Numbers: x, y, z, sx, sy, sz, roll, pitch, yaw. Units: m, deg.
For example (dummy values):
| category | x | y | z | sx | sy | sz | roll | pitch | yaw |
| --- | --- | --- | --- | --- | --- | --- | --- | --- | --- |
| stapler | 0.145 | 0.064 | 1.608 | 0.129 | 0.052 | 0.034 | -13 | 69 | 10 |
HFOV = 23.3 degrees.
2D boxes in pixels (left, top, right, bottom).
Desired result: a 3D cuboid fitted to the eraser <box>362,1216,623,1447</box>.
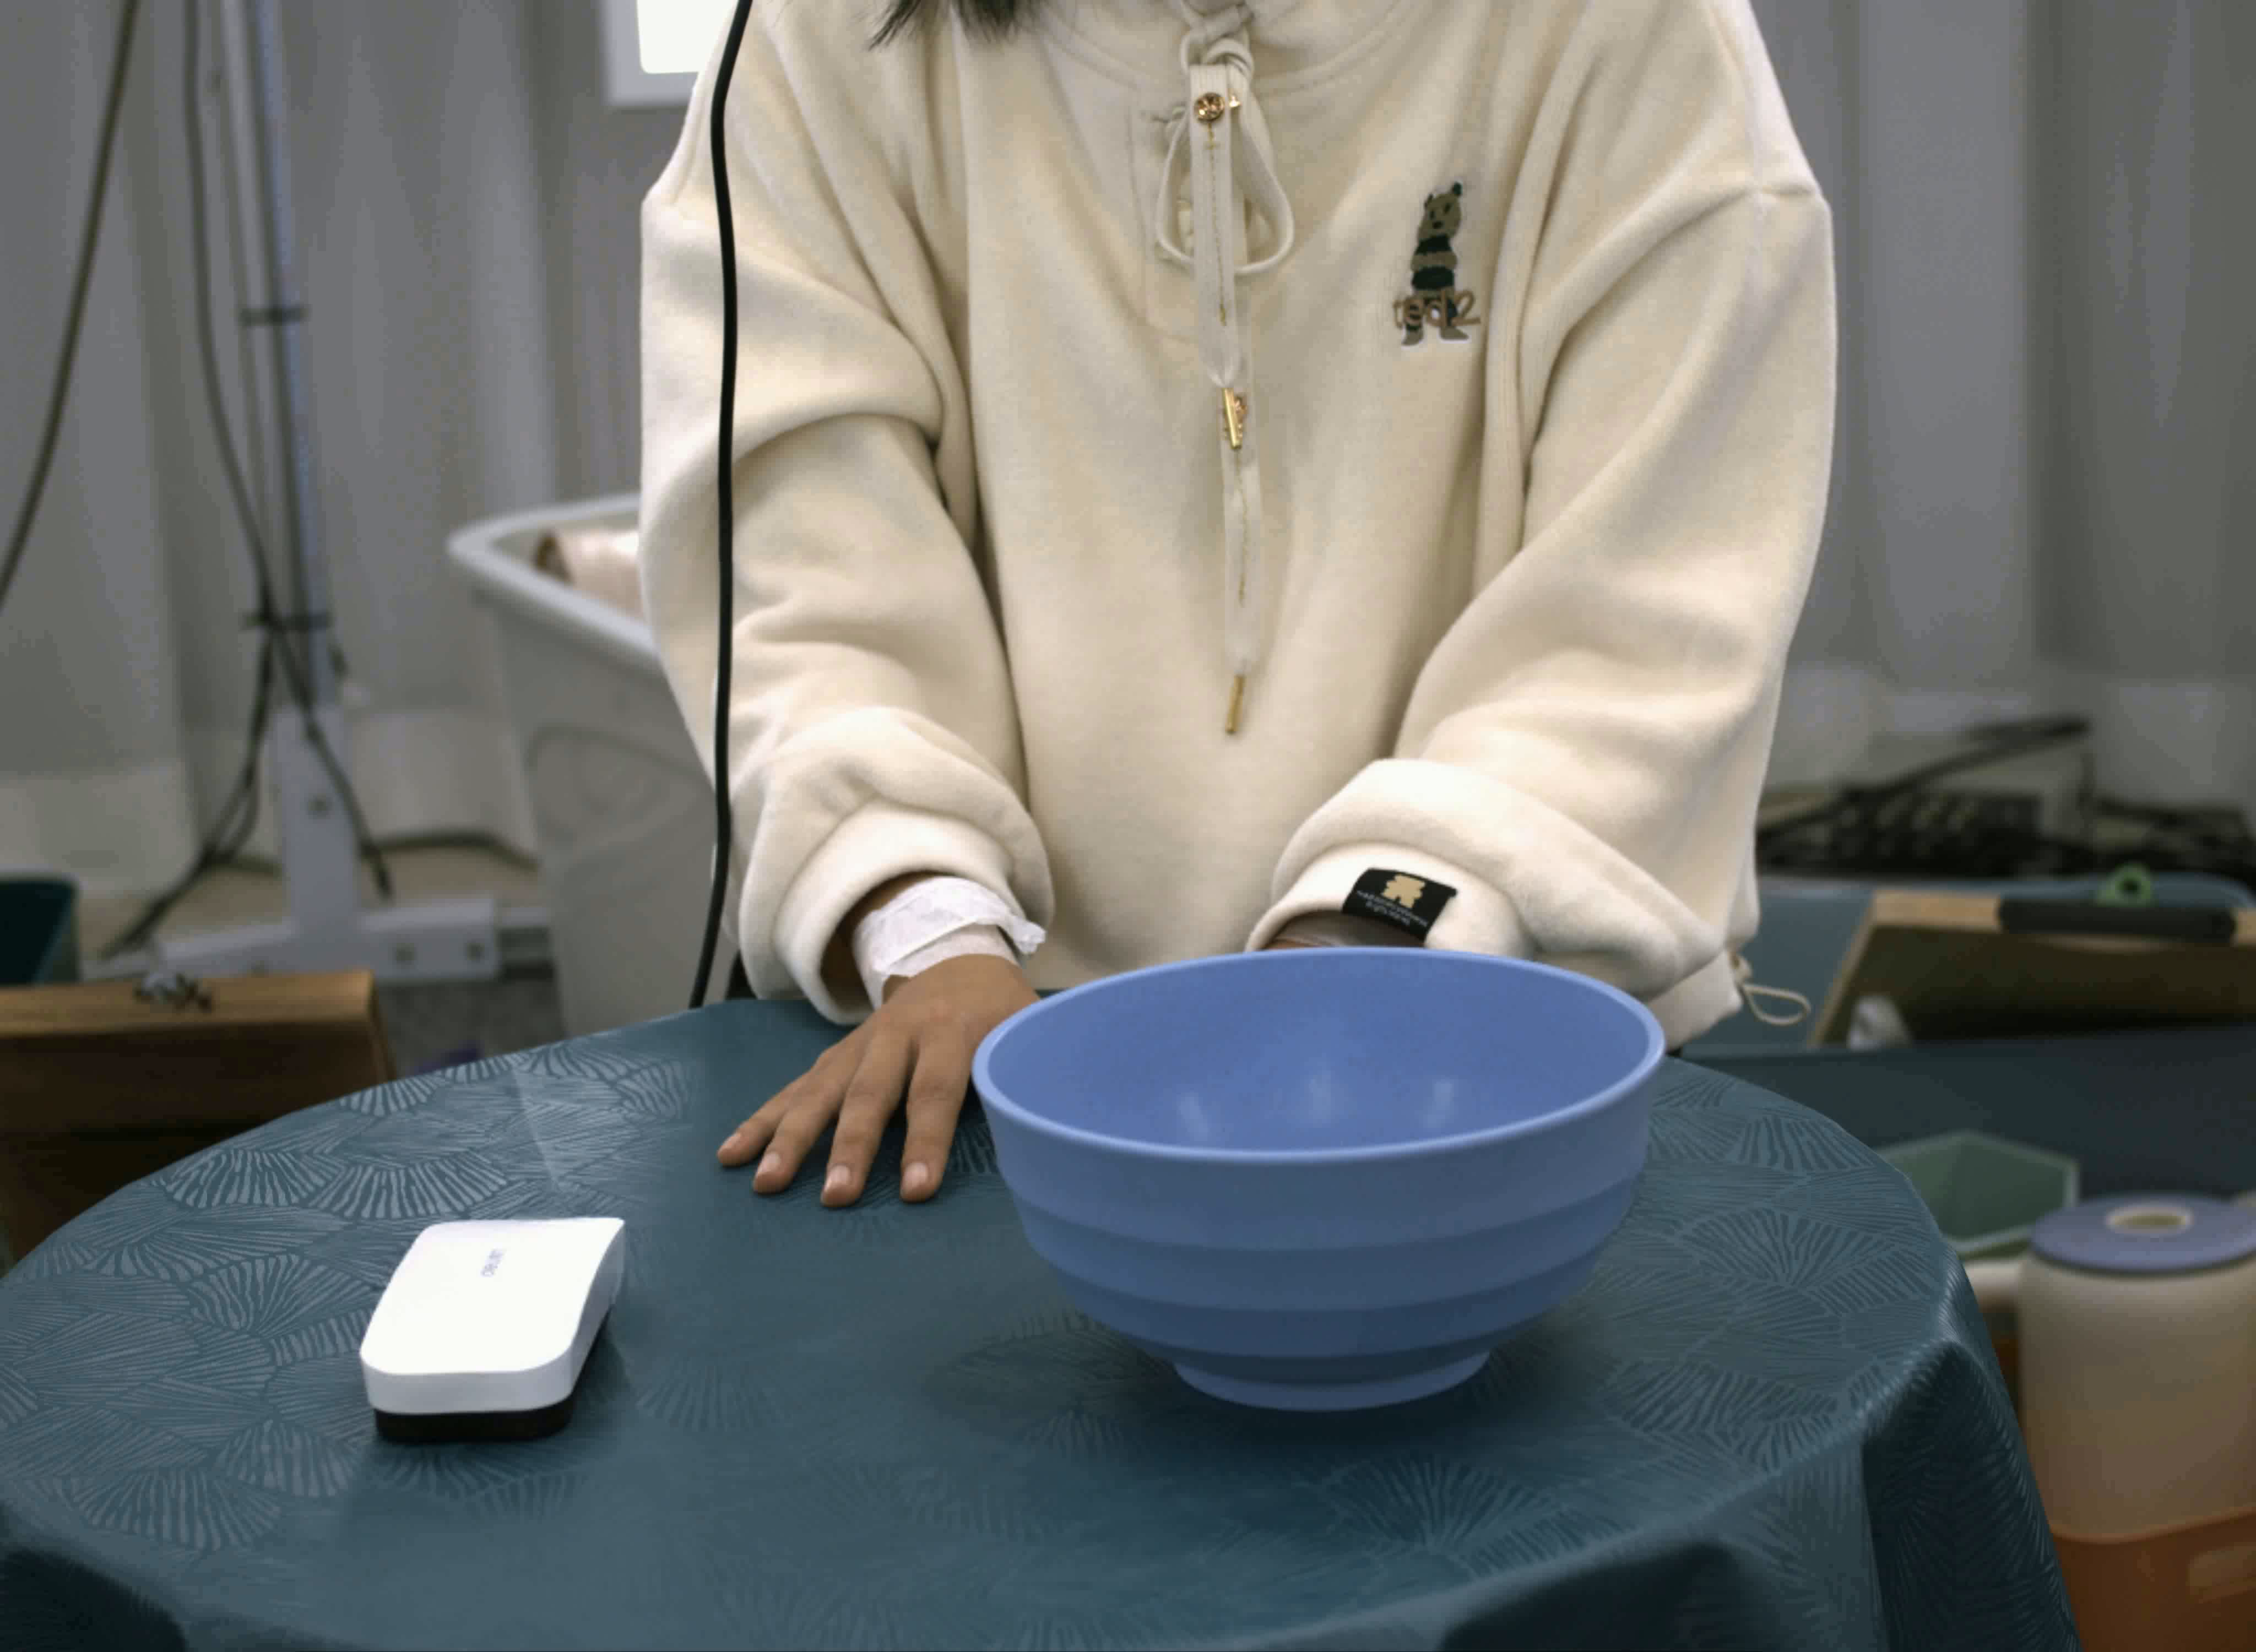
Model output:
| category | x | y | z | sx | sy | sz | roll | pitch | yaw |
| --- | --- | --- | --- | --- | --- | --- | --- | --- | --- |
| eraser | -0.181 | 0.142 | 1.587 | 0.063 | 0.034 | 0.132 | -1 | 16 | 3 |

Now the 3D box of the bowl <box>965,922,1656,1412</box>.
| category | x | y | z | sx | sy | sz | roll | pitch | yaw |
| --- | --- | --- | --- | --- | --- | --- | --- | --- | --- |
| bowl | 0.056 | 0.105 | 1.560 | 0.196 | 0.095 | 0.198 | -6 | 19 | 2 |
